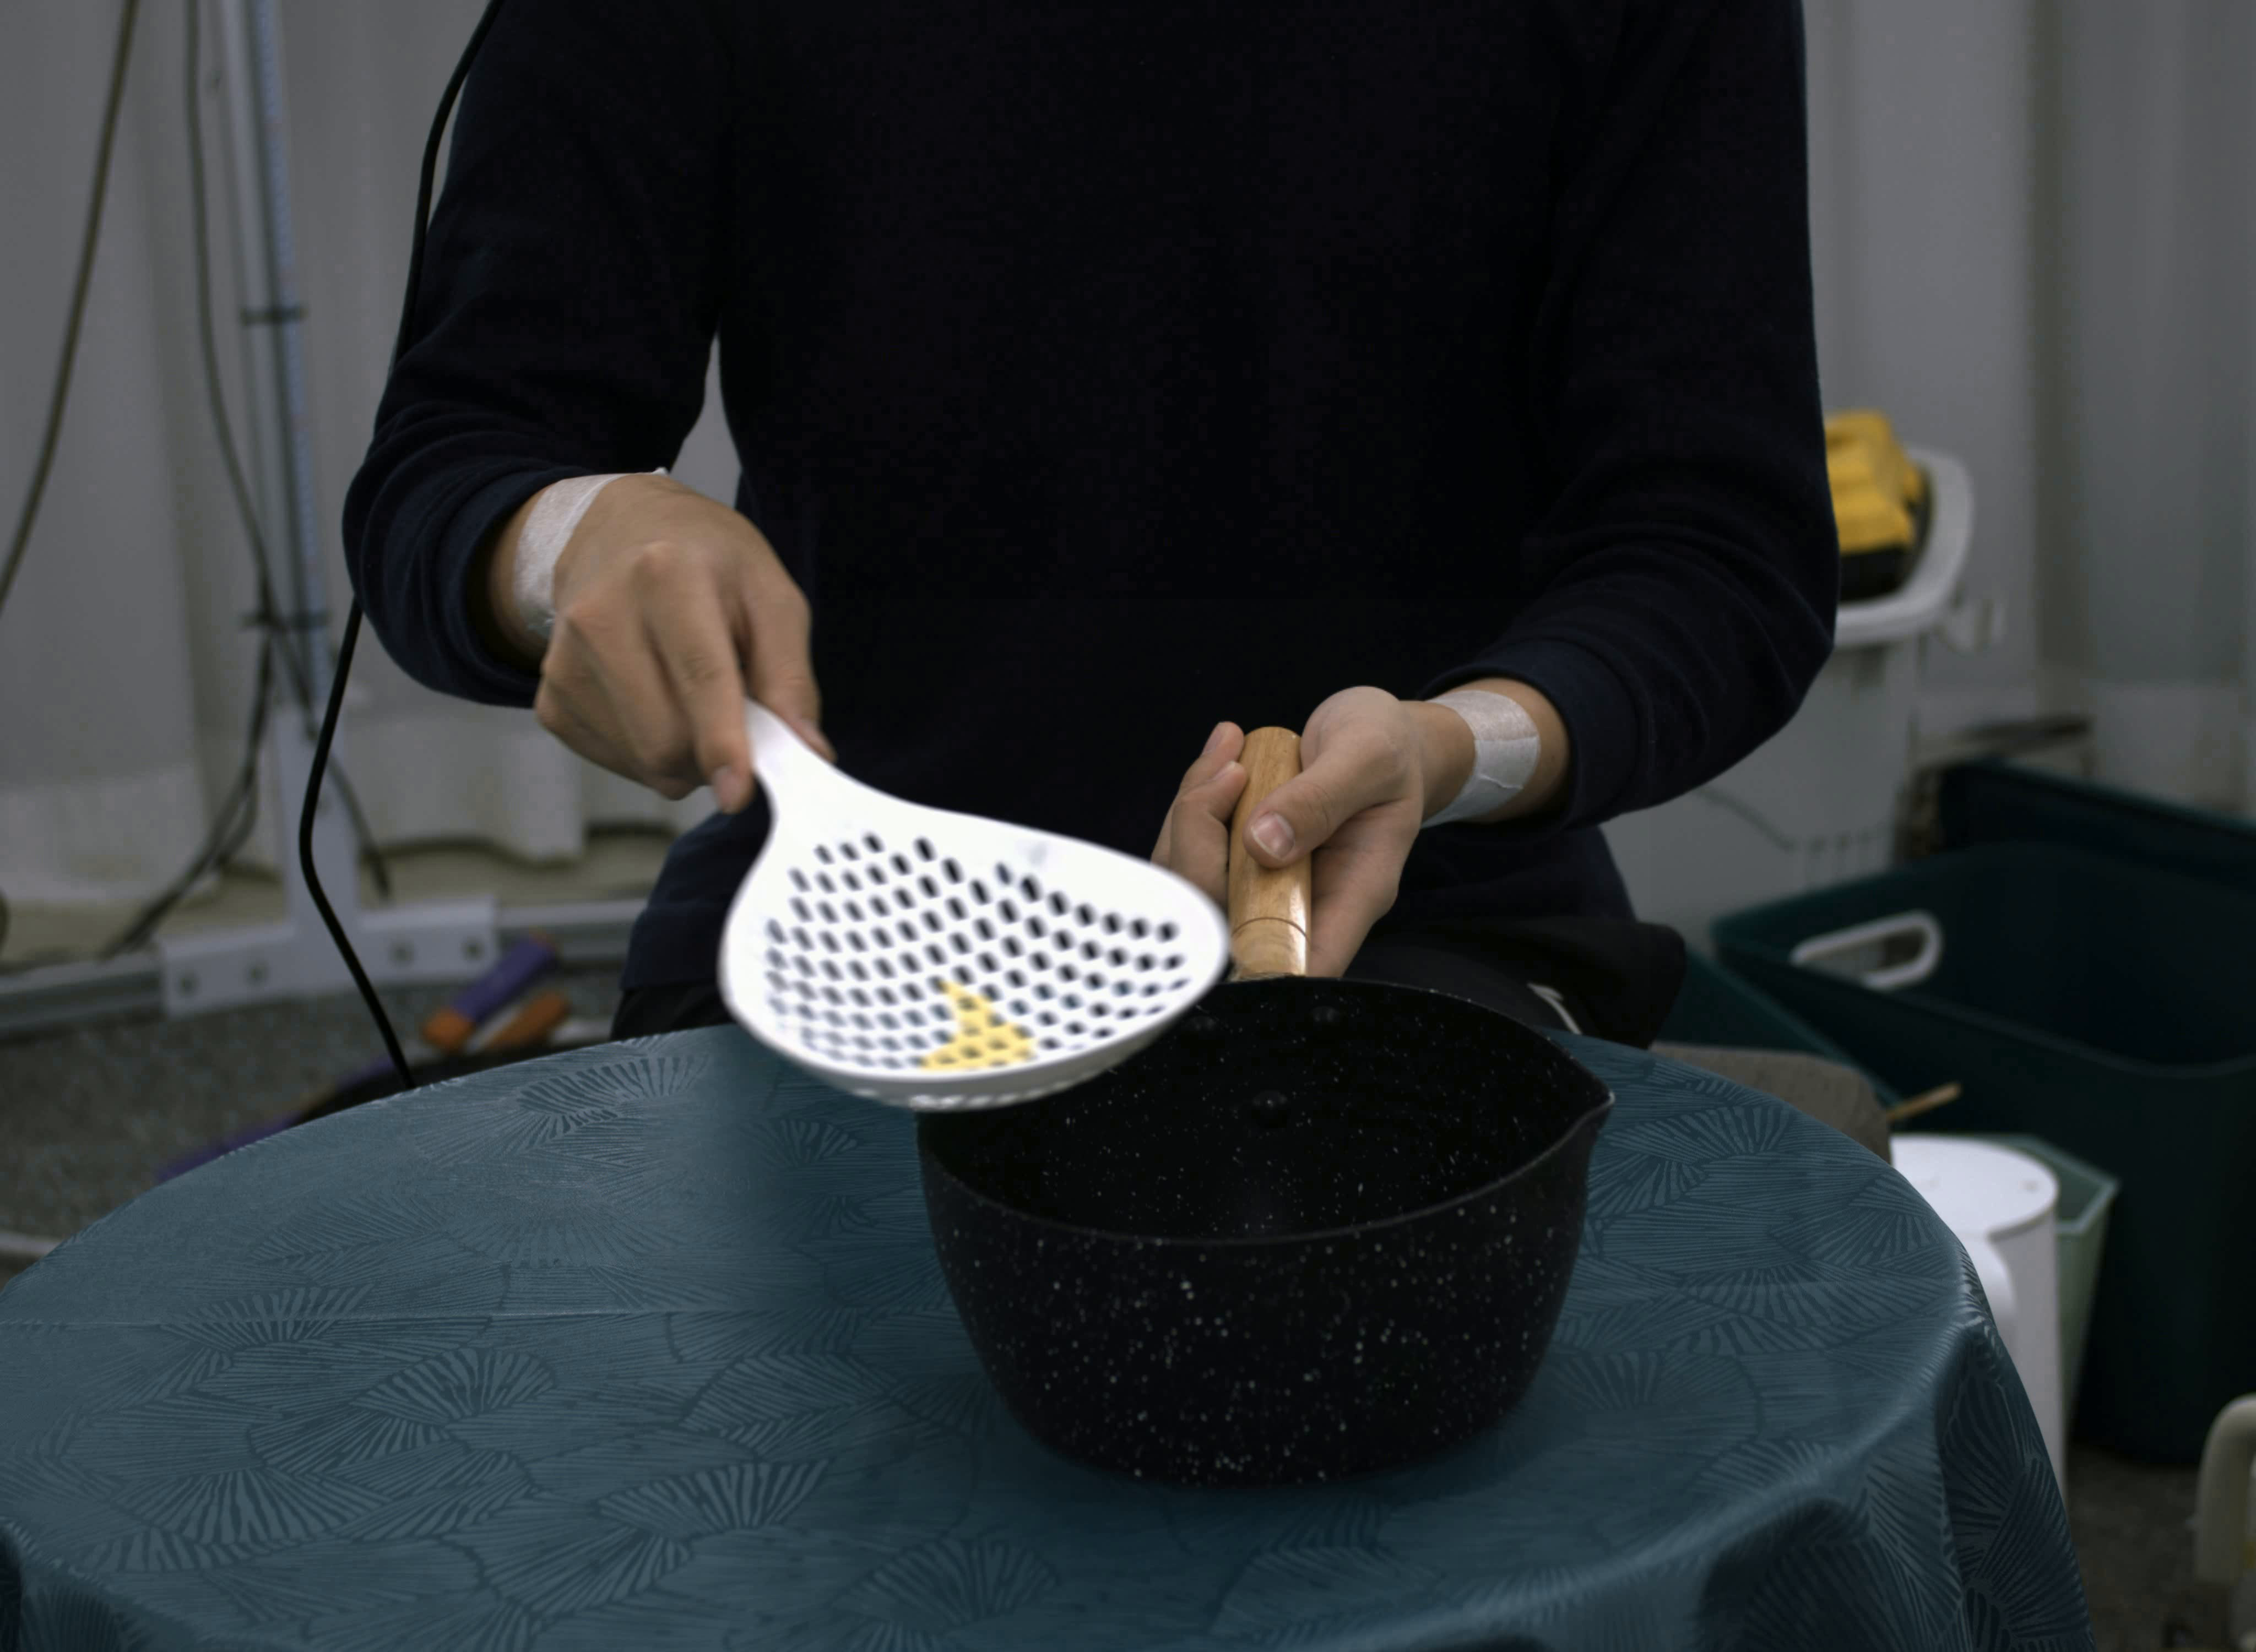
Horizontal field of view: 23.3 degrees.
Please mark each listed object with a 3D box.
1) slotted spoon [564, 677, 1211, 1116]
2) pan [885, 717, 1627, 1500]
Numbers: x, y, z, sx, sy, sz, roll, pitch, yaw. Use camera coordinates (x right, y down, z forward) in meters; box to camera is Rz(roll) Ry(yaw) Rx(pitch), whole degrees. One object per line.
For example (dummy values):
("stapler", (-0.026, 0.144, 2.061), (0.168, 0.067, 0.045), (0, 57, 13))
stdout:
("slotted spoon", (-0.092, 0.005, 1.579), (0.136, 0.050, 0.352), (-17, 31, -20))
("pan", (0.039, 0.077, 1.594), (0.207, 0.107, 0.346), (-4, 21, 3))
